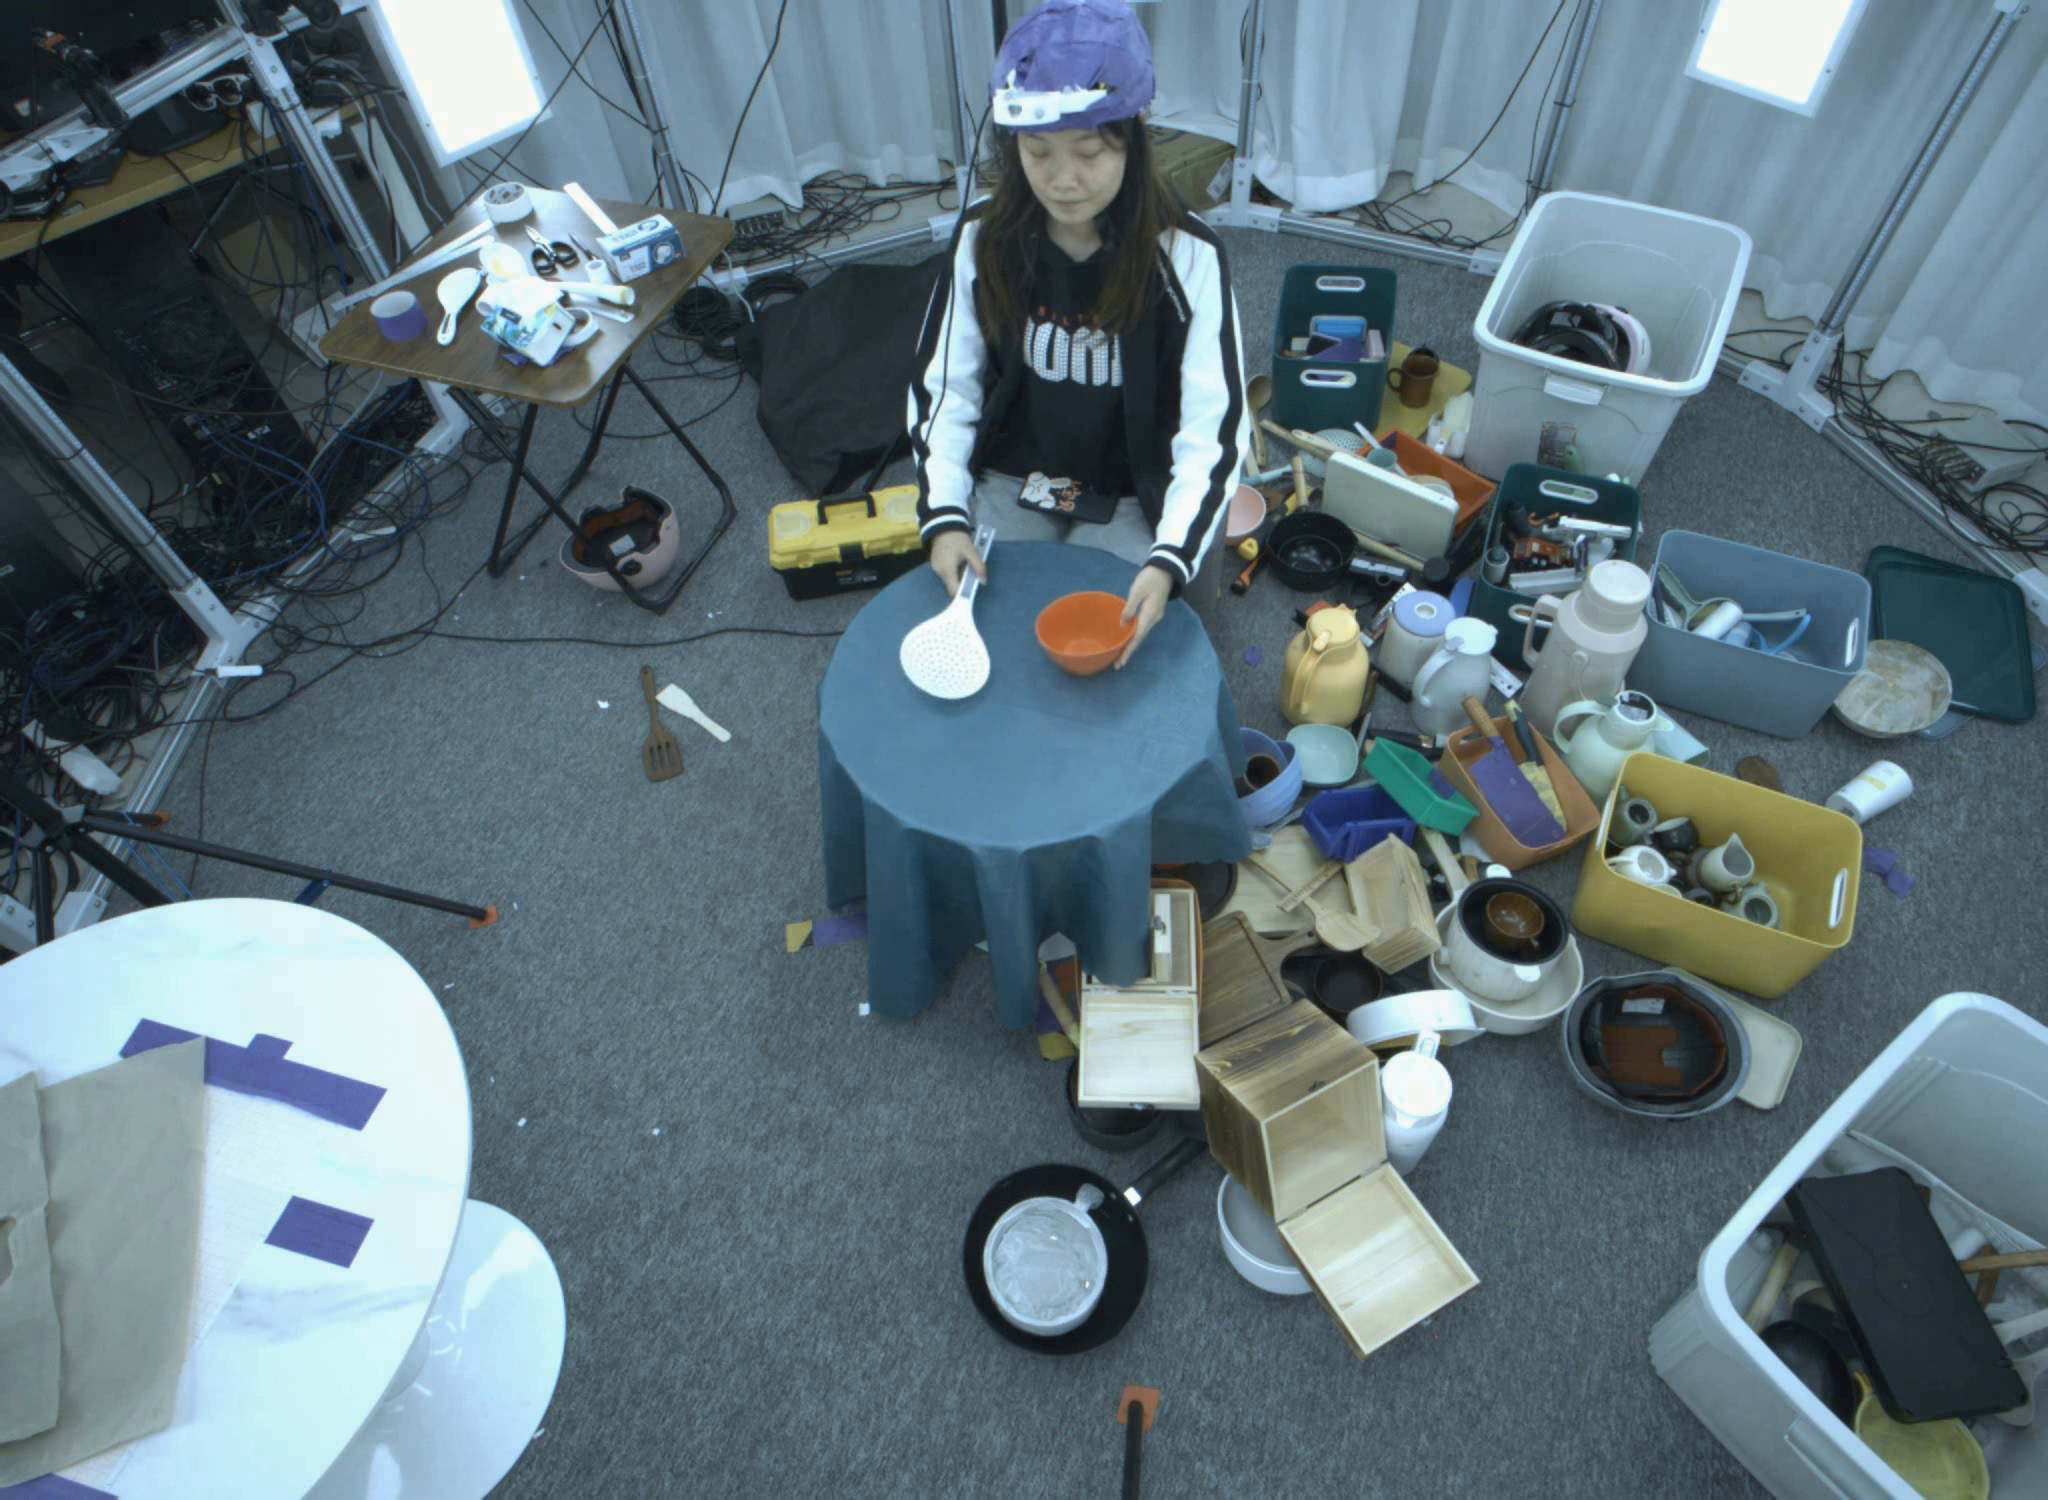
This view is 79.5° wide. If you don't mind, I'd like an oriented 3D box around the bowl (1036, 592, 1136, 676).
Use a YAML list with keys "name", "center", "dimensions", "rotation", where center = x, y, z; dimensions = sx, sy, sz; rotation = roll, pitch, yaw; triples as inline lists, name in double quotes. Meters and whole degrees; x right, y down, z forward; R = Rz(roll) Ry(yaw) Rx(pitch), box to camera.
- name: "bowl"
  center: [0.093, -0.161, 1.837]
  dimensions: [0.148, 0.106, 0.146]
  rotation: [-2, 54, 4]

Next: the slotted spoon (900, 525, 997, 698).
- name: "slotted spoon"
  center: [-0.098, -0.220, 1.900]
  dimensions: [0.137, 0.045, 0.348]
  rotation: [20, 62, -8]
